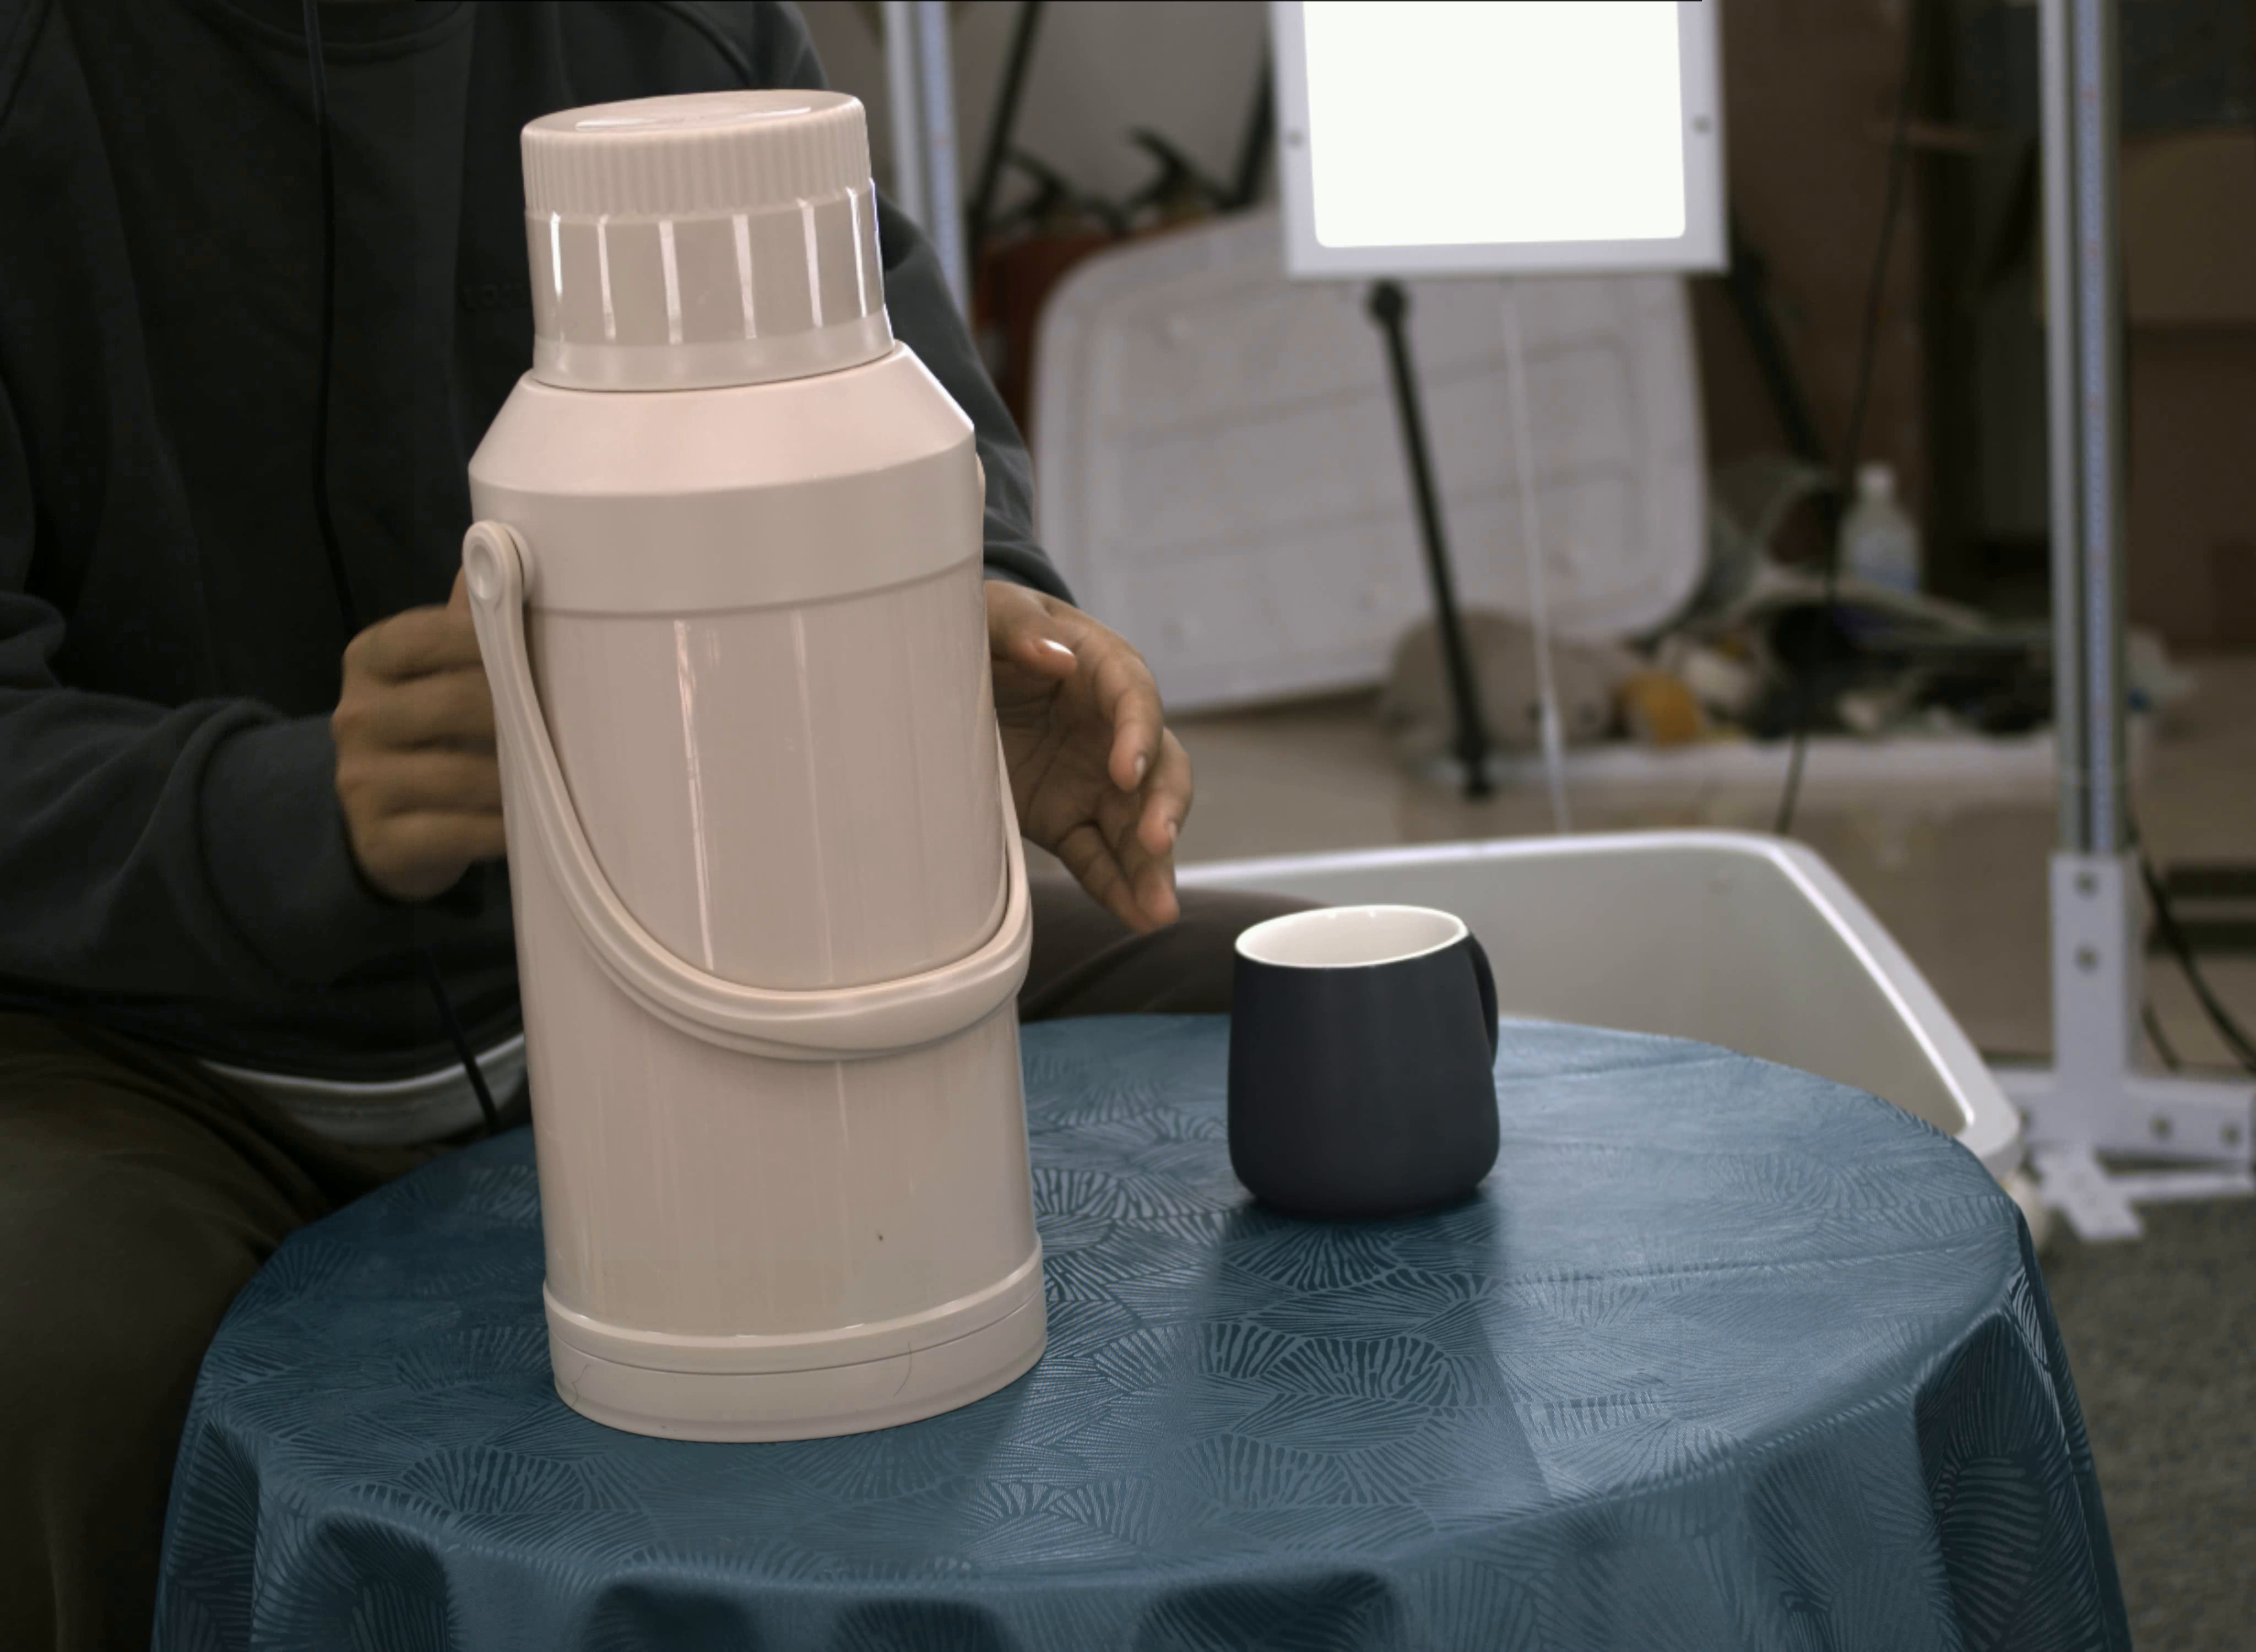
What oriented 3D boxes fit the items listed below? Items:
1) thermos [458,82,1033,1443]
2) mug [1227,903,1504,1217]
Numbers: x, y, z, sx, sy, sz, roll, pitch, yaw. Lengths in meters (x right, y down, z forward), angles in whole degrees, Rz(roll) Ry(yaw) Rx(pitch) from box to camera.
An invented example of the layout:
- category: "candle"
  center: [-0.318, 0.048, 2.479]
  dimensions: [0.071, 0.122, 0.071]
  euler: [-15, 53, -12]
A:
- category: "thermos"
  center: [-0.127, -0.024, 1.721]
  dimensions: [0.171, 0.408, 0.211]
  euler: [-14, 17, -34]
- category: "mug"
  center: [0.089, 0.076, 1.881]
  dimensions: [0.095, 0.090, 0.120]
  euler: [8, 18, 40]
